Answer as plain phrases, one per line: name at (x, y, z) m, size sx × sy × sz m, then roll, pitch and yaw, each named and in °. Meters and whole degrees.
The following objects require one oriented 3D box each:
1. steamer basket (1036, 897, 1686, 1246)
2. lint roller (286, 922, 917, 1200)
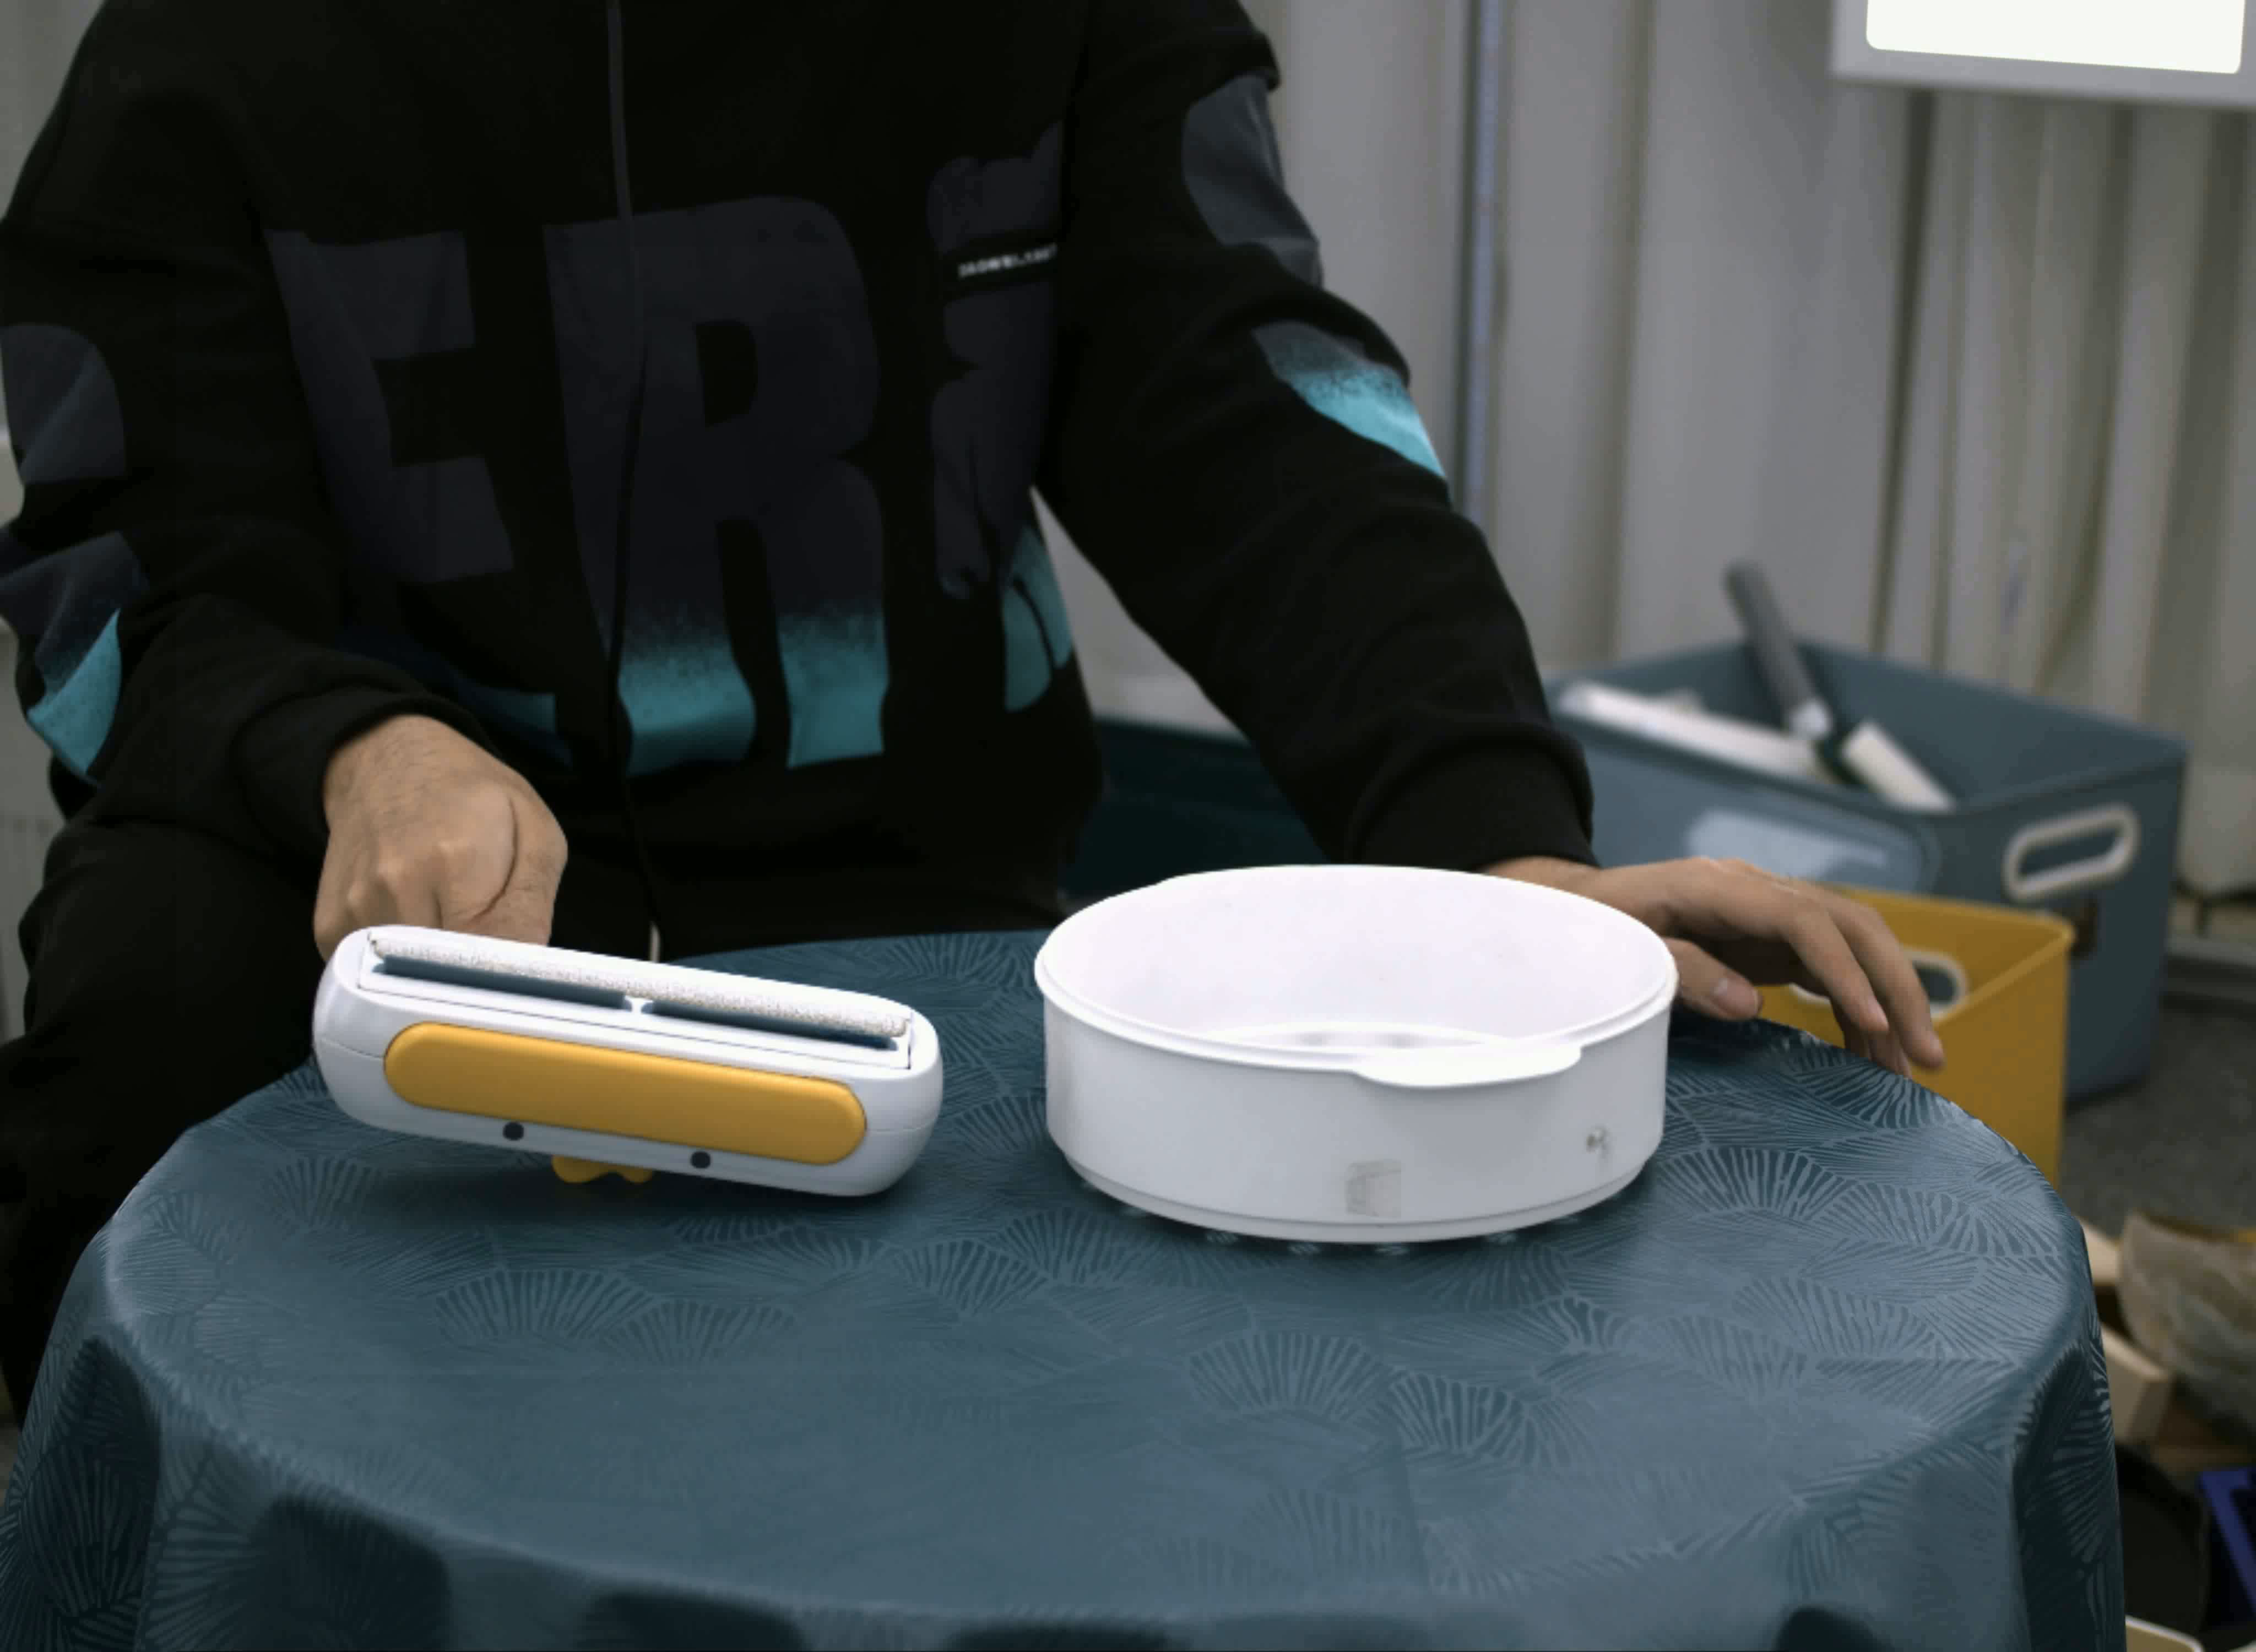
steamer basket at (0.072, 0.076, 1.638) m, size 0.202 × 0.070 × 0.228 m, roll -3°, pitch 13°, yaw -18°
lint roller at (-0.161, 0.064, 1.664) m, size 0.192 × 0.075 × 0.191 m, roll 5°, pitch 14°, yaw -2°
